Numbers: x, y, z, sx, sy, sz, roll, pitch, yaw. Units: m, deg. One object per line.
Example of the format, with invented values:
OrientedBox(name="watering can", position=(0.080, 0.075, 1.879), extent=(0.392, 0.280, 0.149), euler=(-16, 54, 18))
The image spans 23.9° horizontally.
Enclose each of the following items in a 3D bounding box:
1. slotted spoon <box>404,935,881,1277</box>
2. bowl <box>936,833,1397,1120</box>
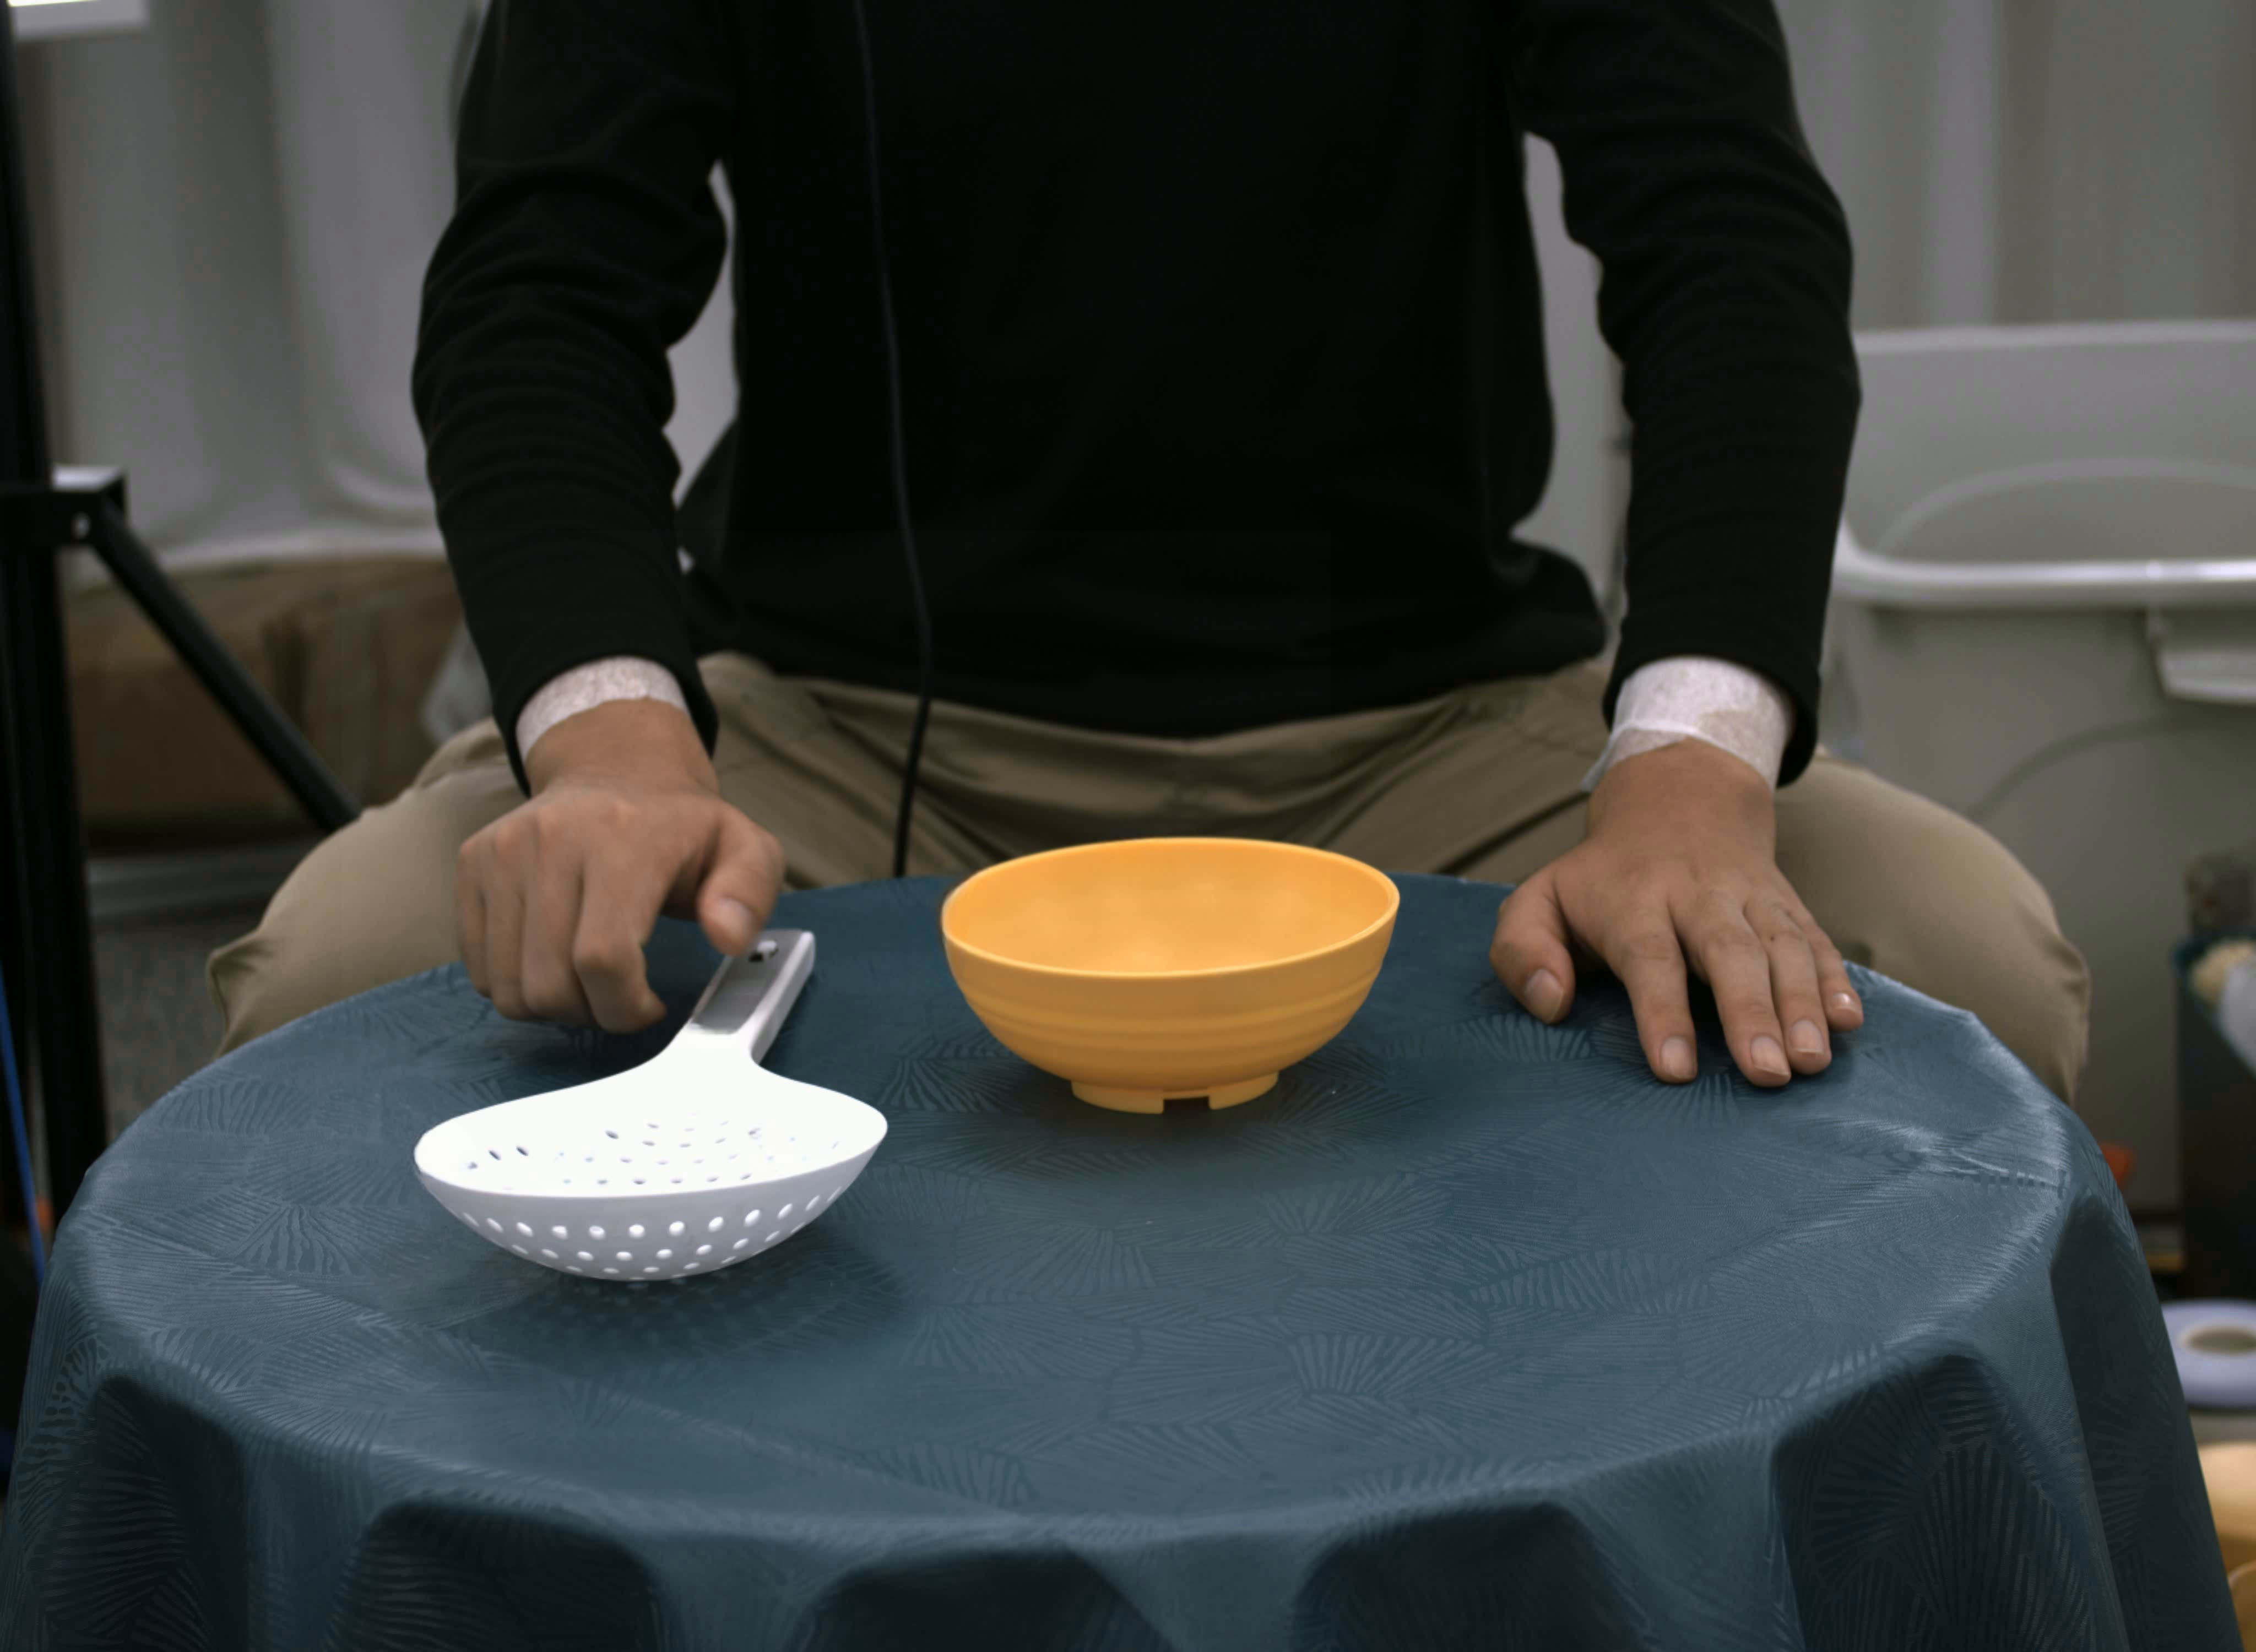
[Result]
OrientedBox(name="slotted spoon", position=(-0.130, 0.075, 1.611), extent=(0.136, 0.046, 0.350), euler=(-3, 15, 4))
OrientedBox(name="bowl", position=(0.012, 0.053, 1.650), extent=(0.144, 0.060, 0.146), euler=(-2, 18, -1))
